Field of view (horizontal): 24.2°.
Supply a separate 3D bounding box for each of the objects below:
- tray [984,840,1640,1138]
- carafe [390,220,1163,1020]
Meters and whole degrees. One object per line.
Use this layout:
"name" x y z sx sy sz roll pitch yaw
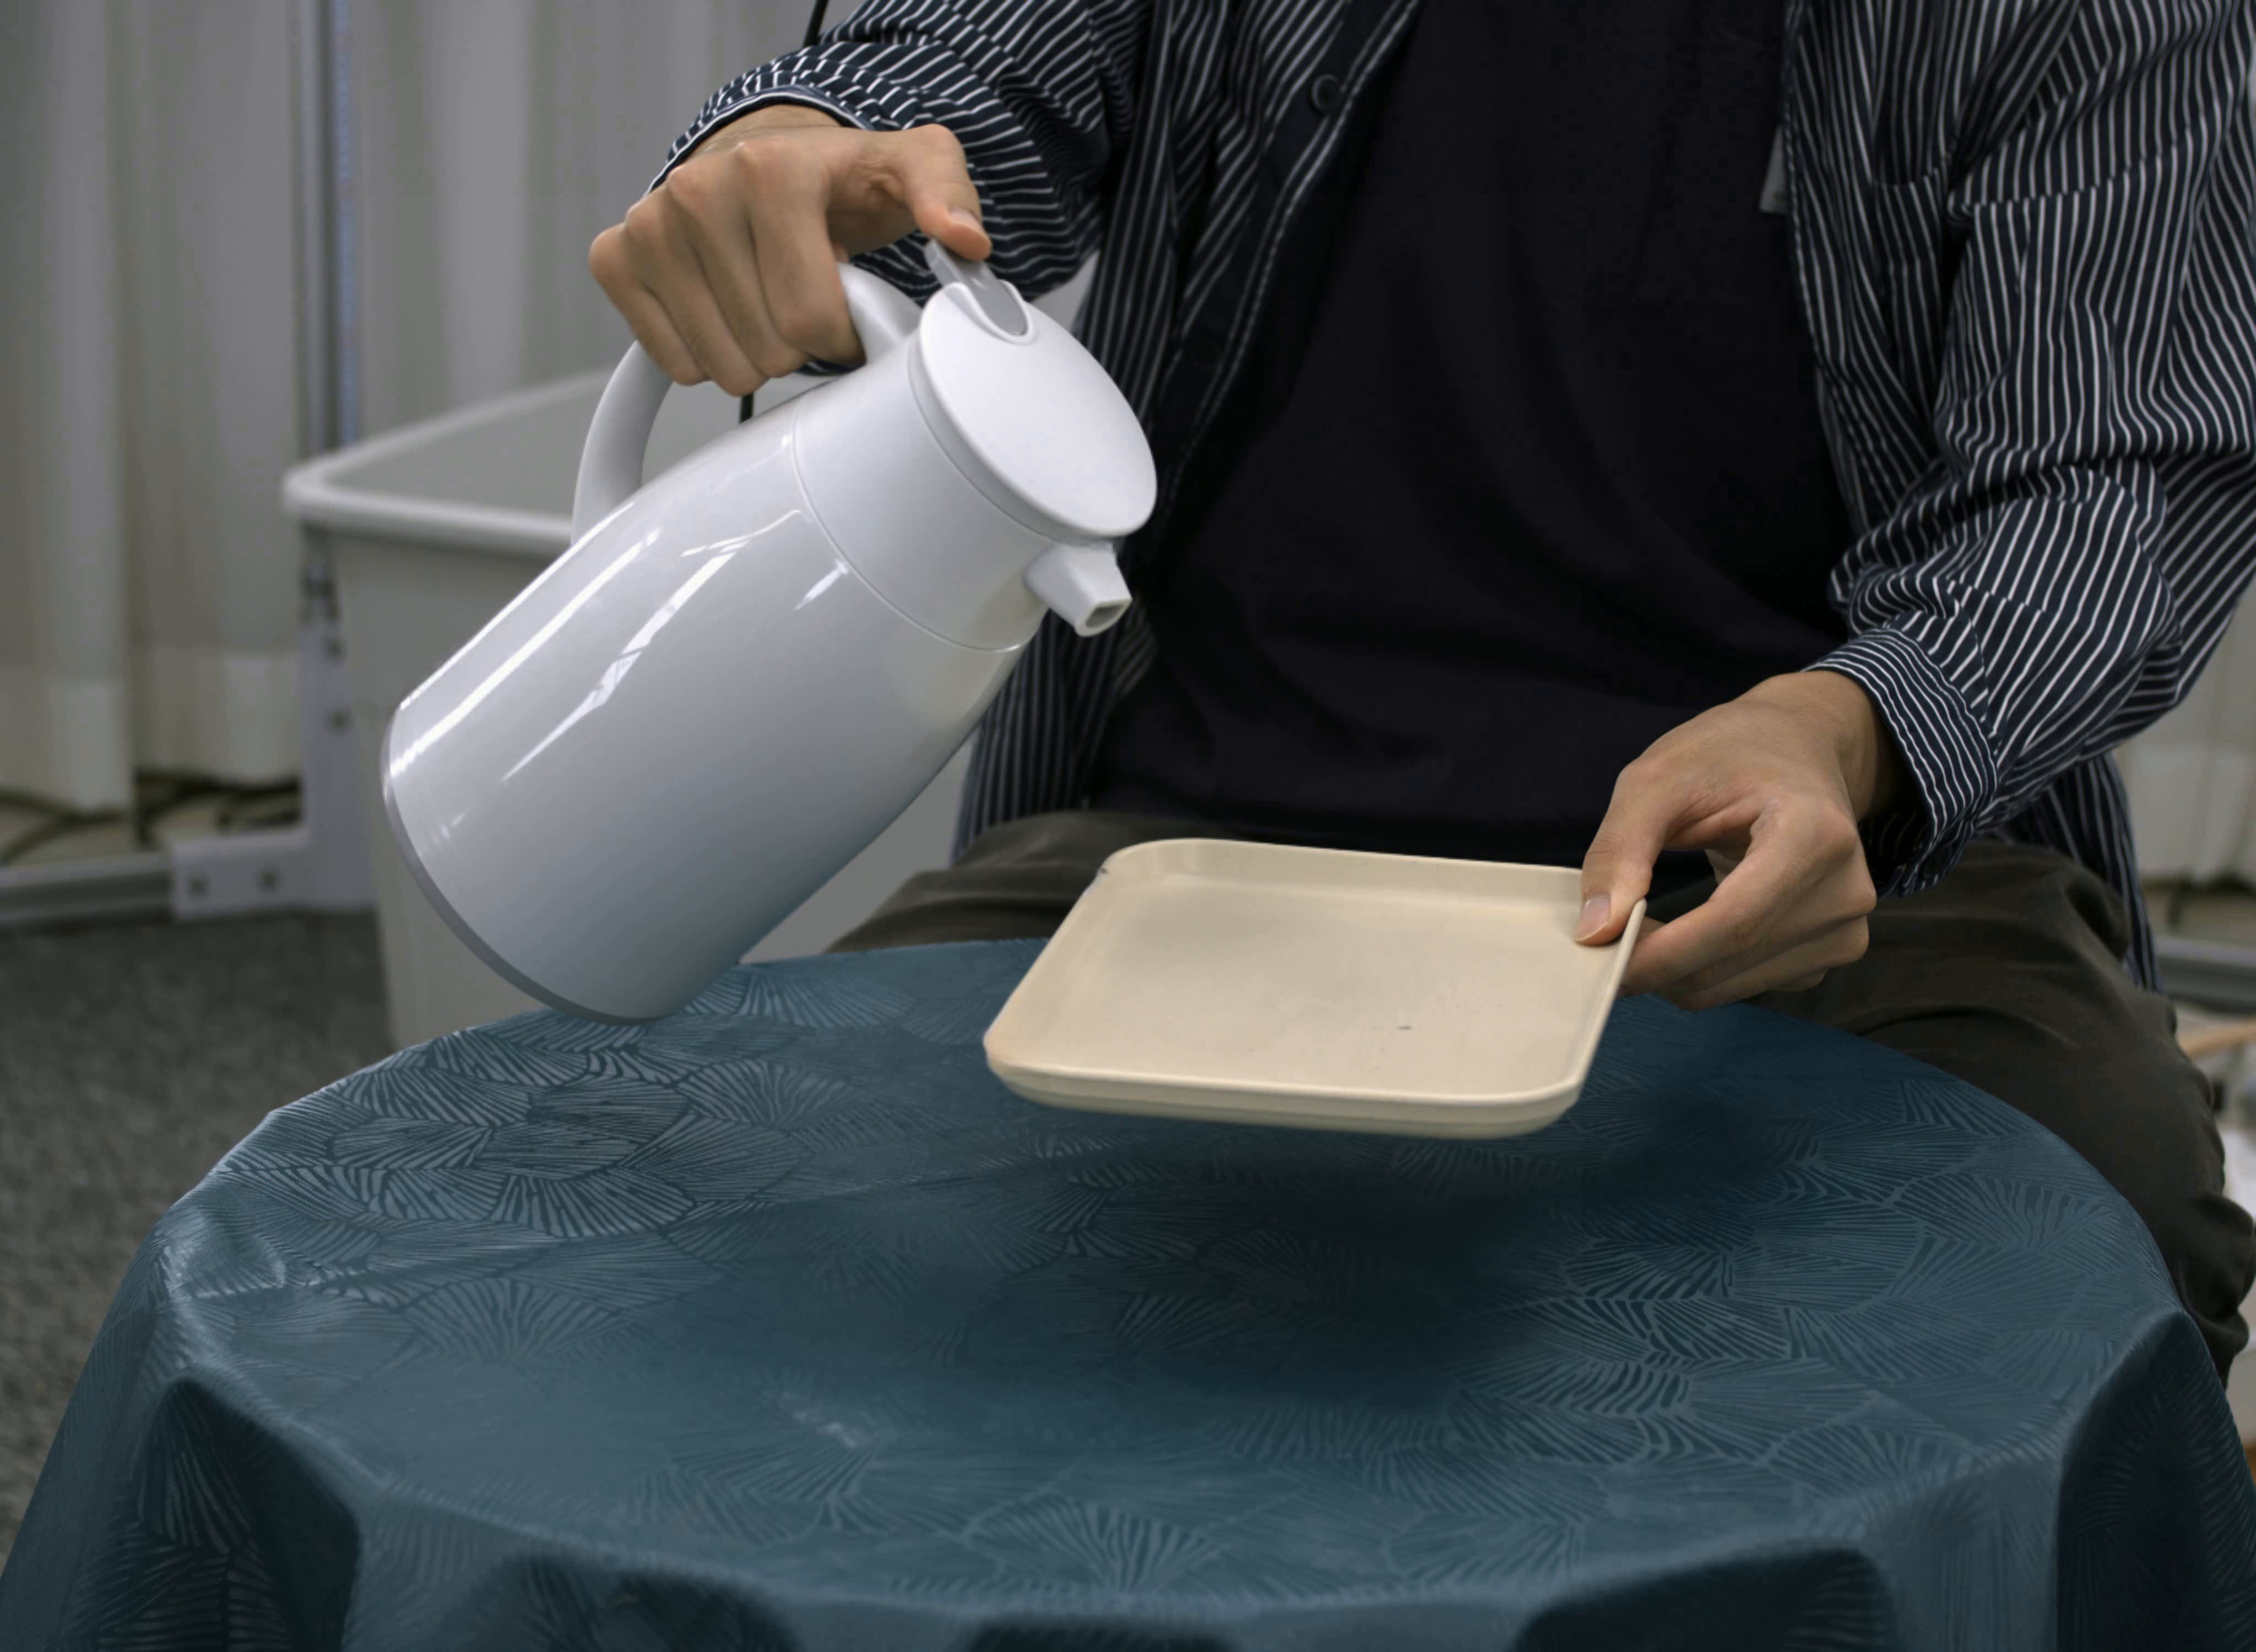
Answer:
"tray" 0.058 0.047 1.552 0.170 0.017 0.239 5 16 10
"carafe" -0.111 -0.077 1.606 0.248 0.167 0.133 -41 -12 31
